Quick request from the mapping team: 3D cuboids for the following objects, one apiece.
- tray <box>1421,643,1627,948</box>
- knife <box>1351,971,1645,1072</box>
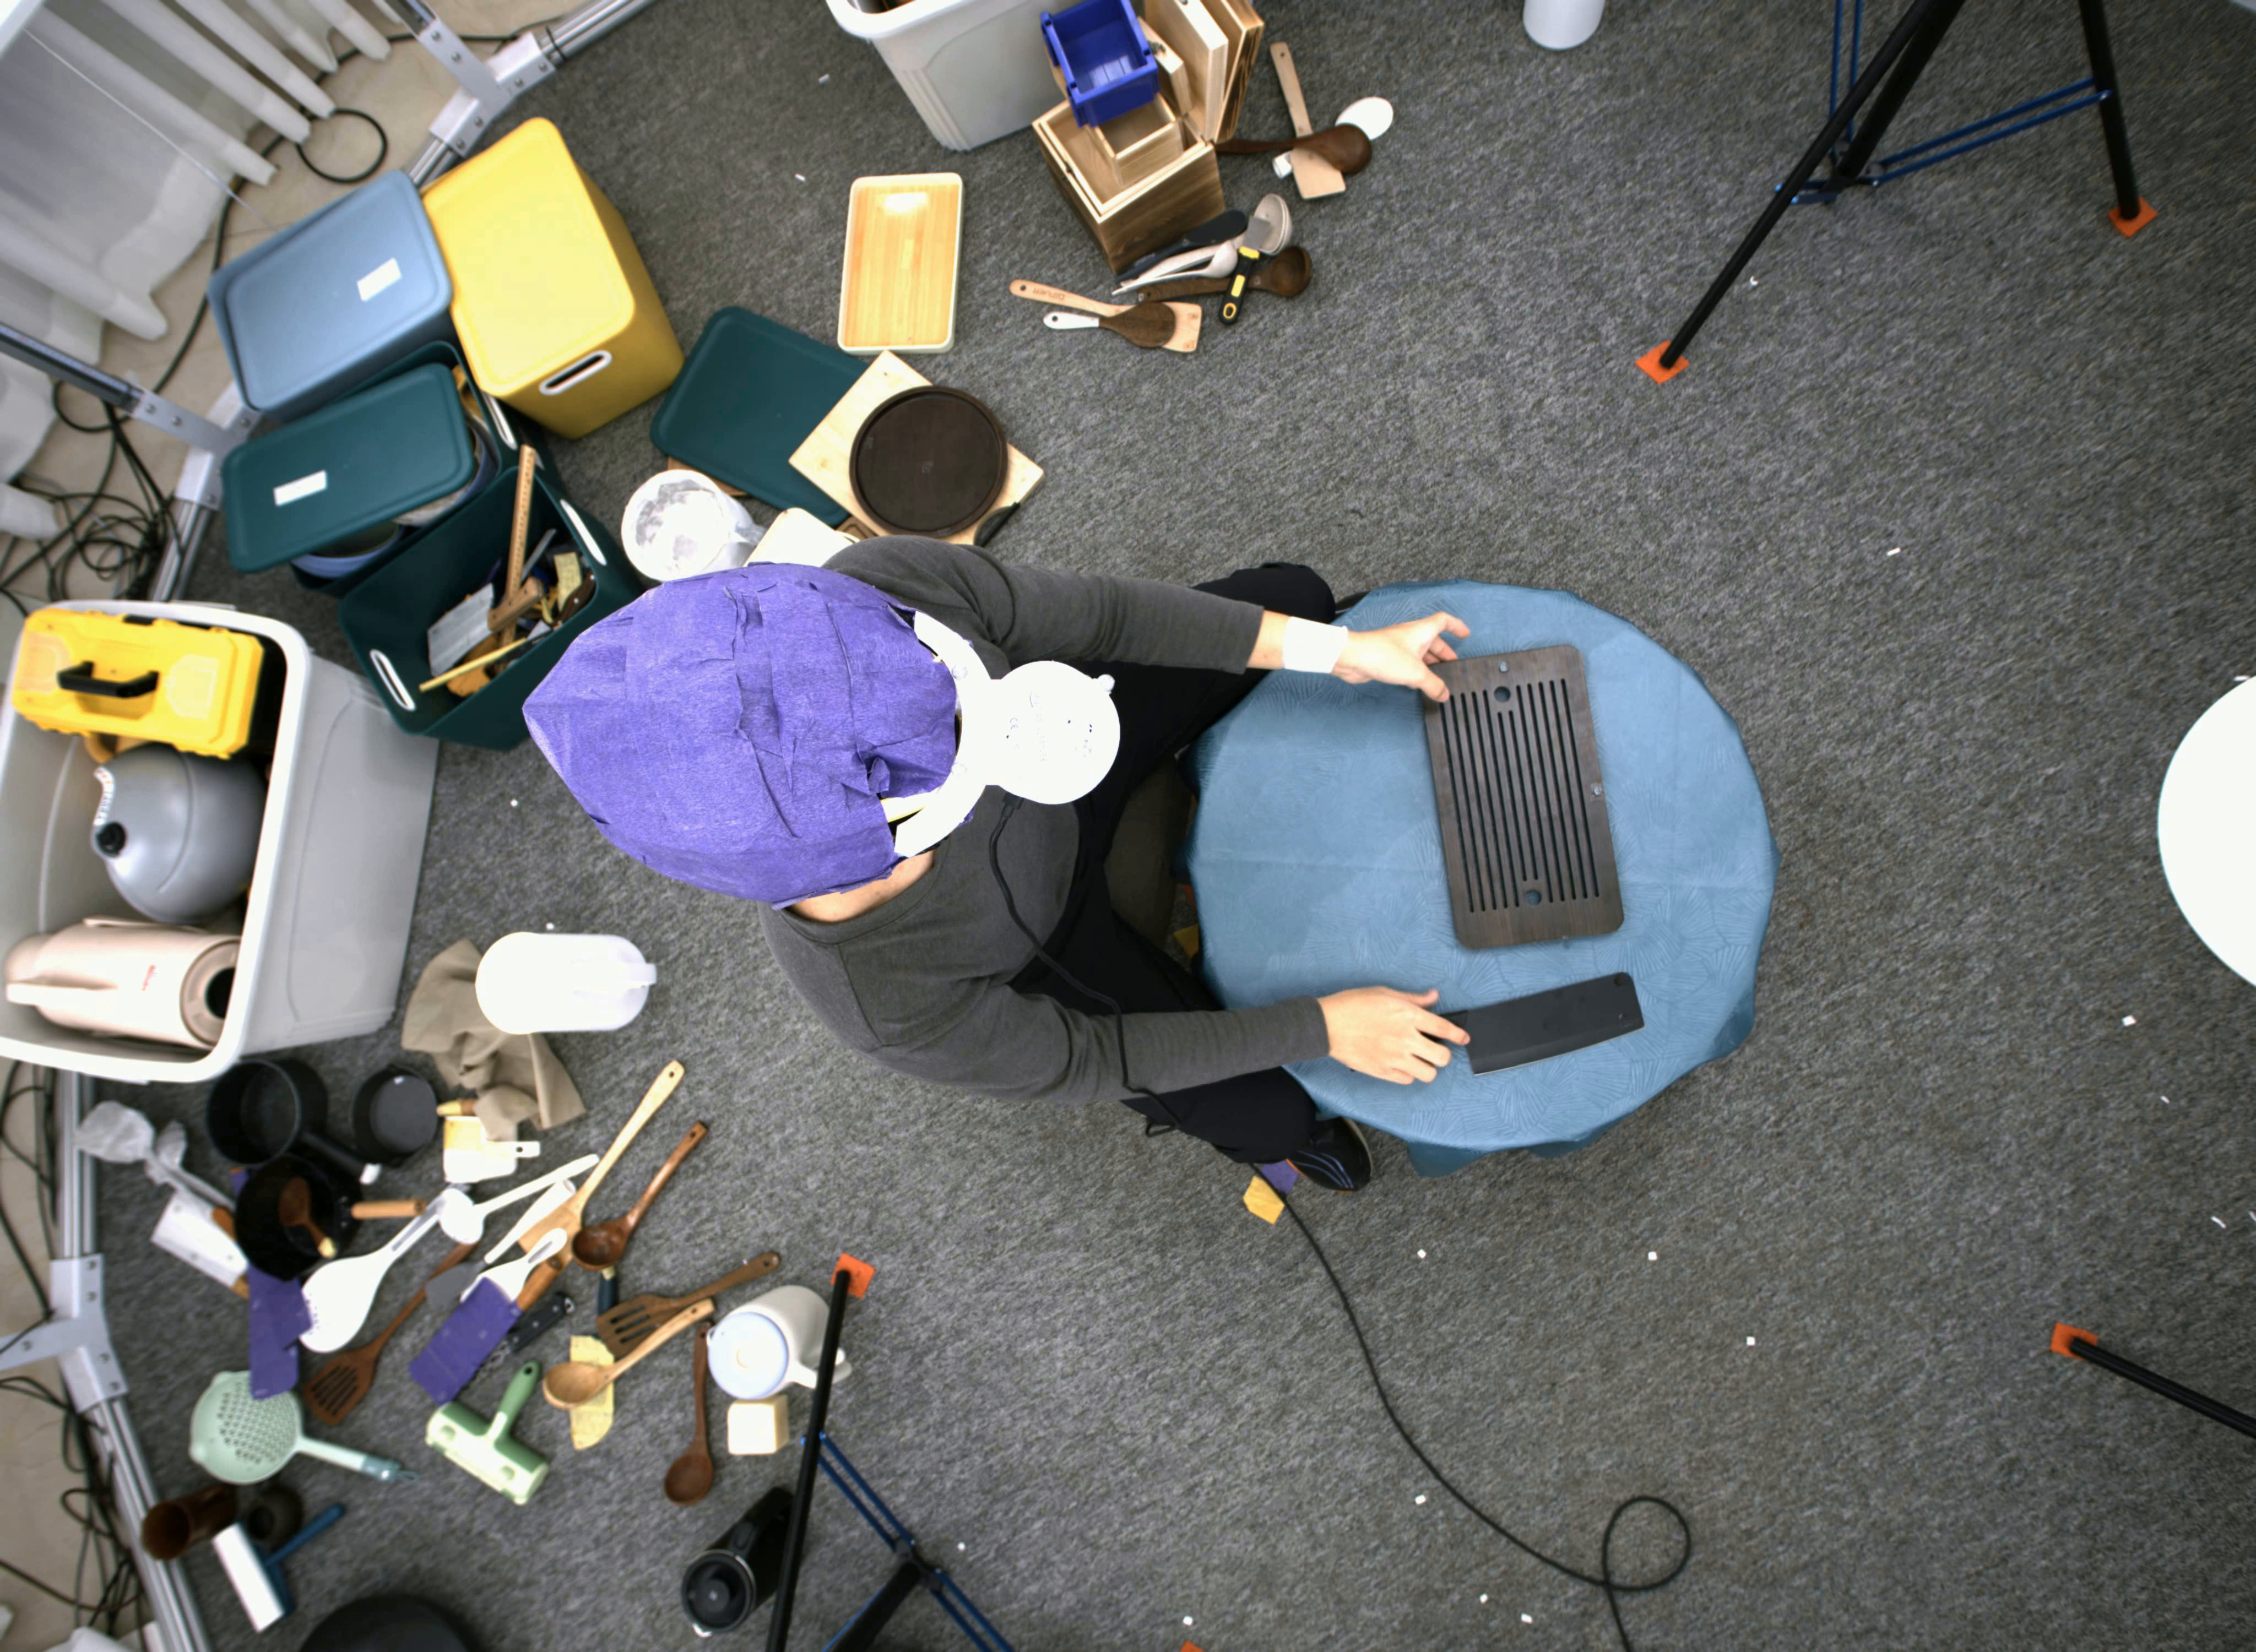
[{"bbox_3d":[0.411,-0.035,1.430,0.171,0.018,0.304,-8,86,10],"label":"tray"},{"bbox_3d":[0.379,0.211,1.425,0.304,0.021,0.080,-11,85,8],"label":"knife"}]
